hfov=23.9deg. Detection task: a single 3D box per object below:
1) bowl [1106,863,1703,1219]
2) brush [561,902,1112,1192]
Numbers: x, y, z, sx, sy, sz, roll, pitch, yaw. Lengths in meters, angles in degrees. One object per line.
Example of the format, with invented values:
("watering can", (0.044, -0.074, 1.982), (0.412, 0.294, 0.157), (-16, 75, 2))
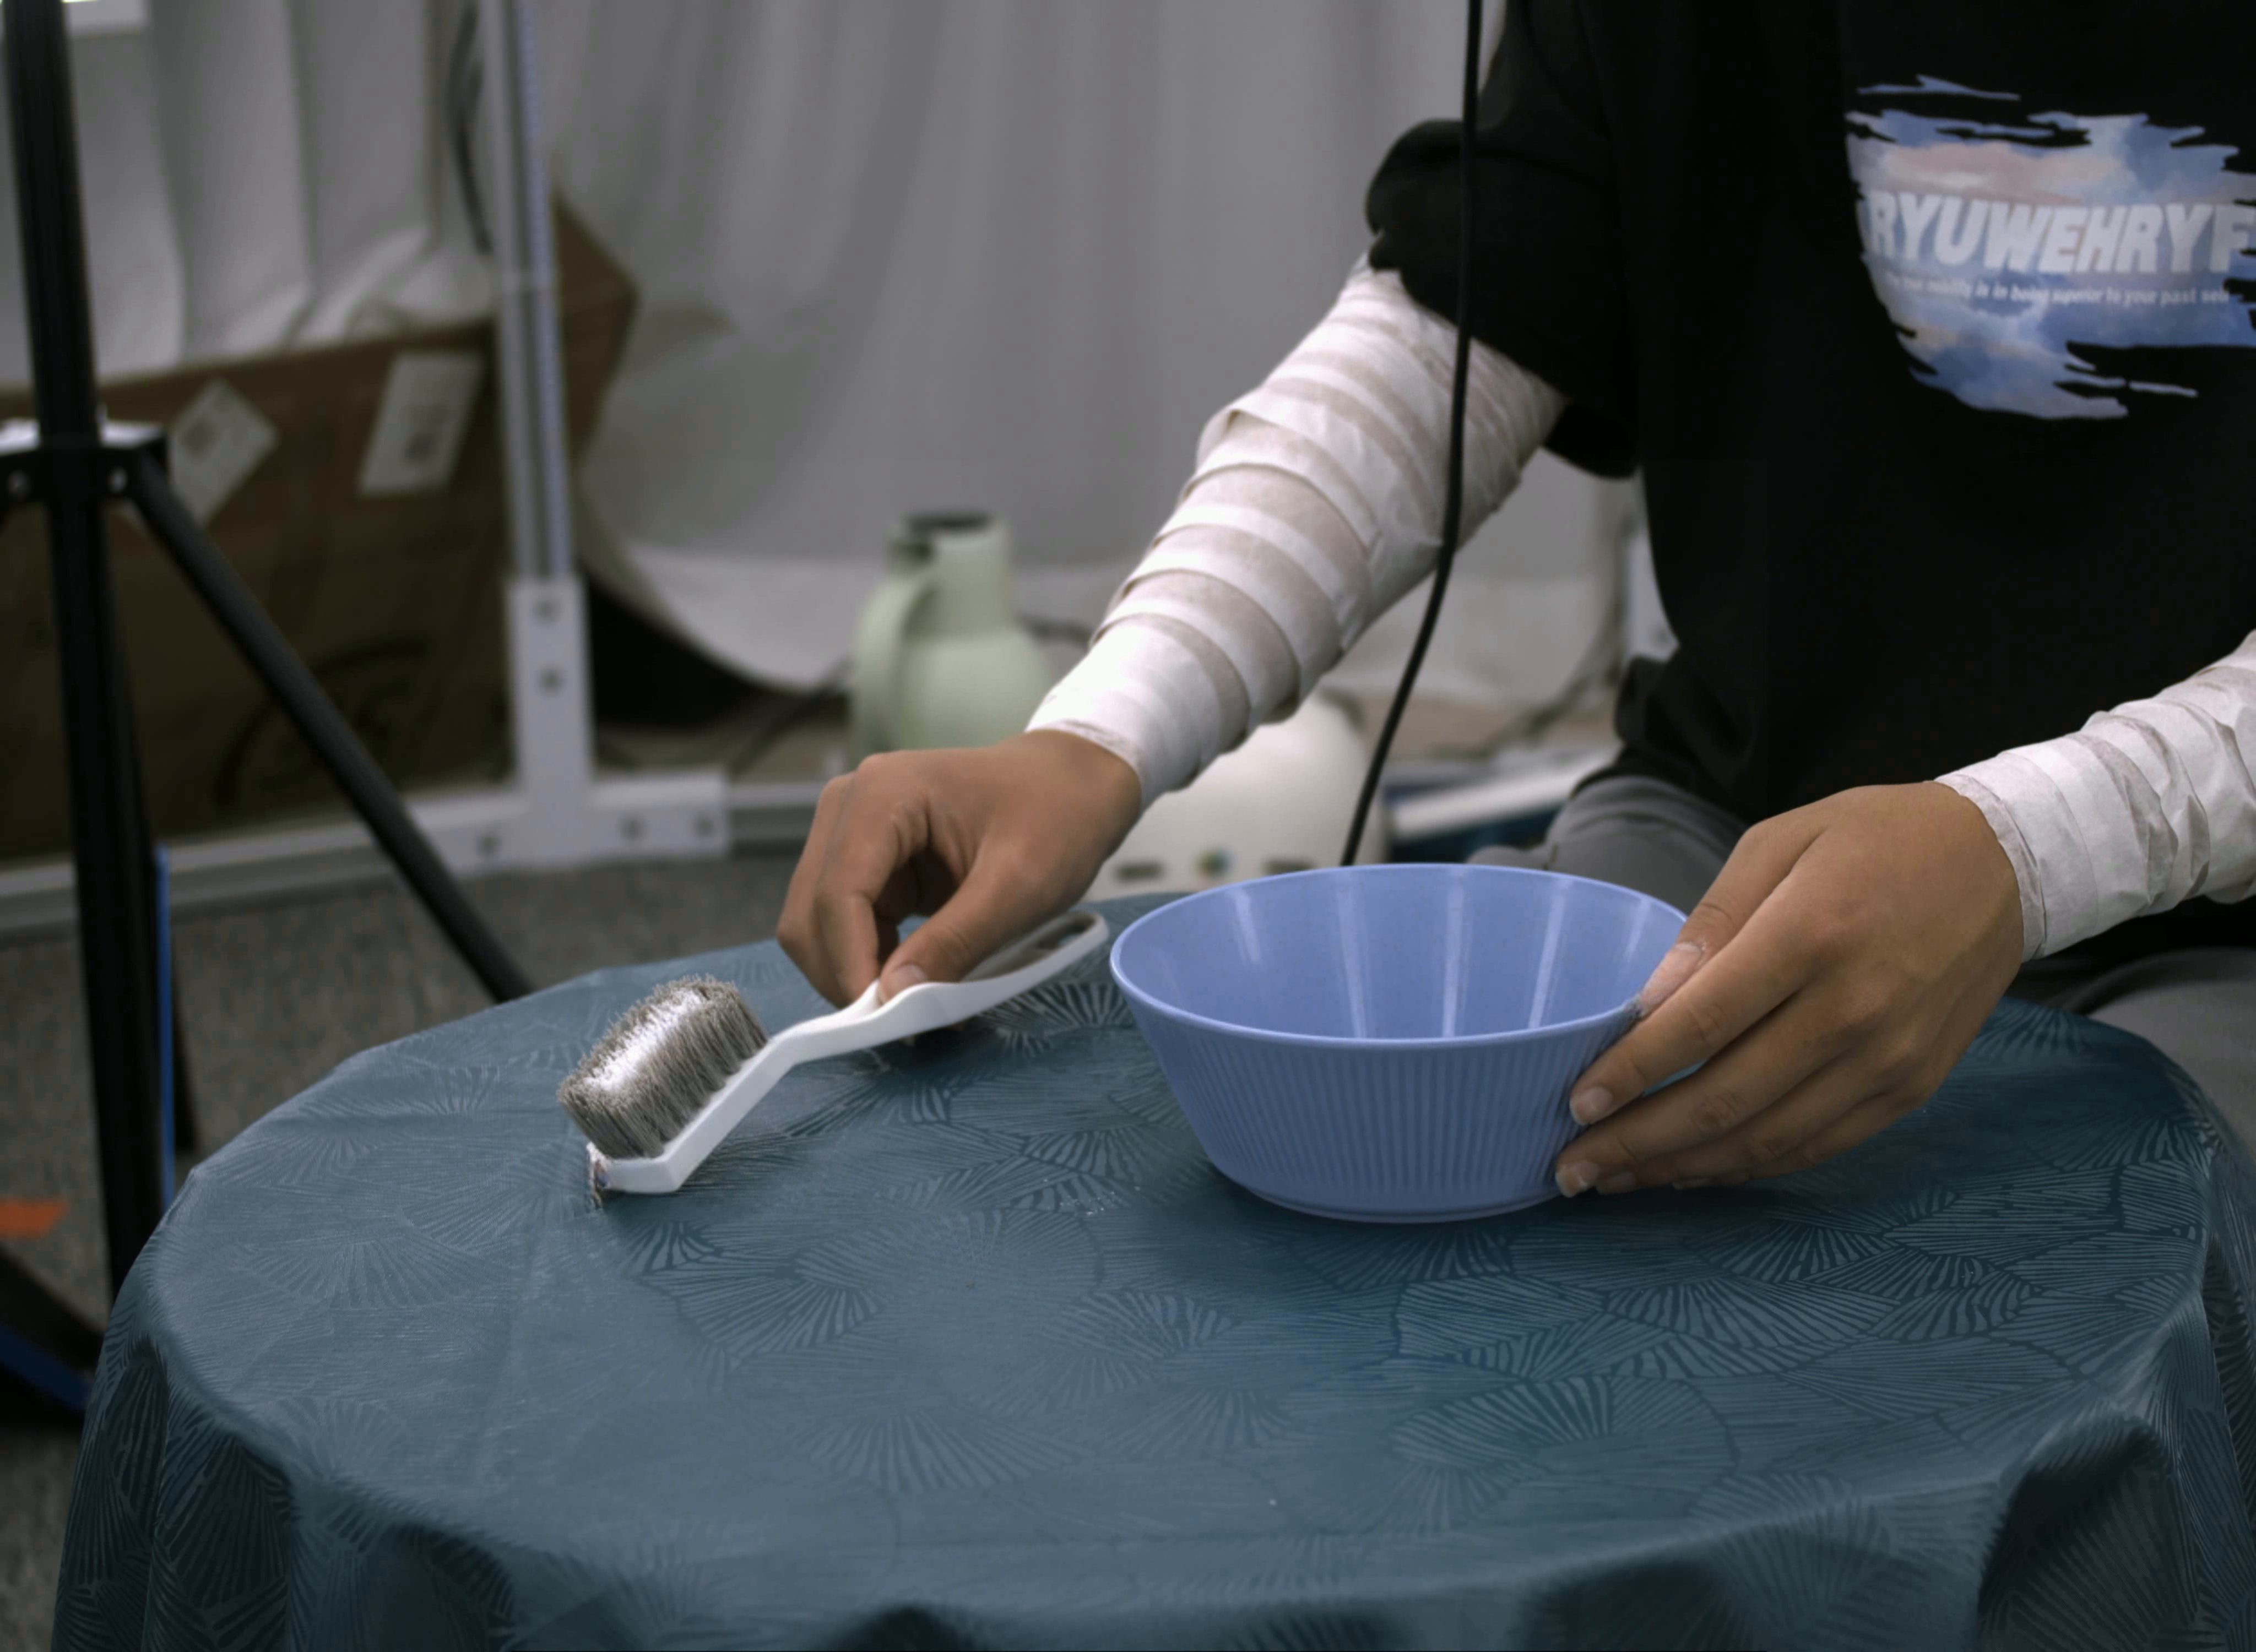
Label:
("bowl", (0.081, 0.066, 1.566), (0.175, 0.070, 0.177), (-2, 16, -1))
("brush", (-0.085, 0.049, 1.653), (0.035, 0.050, 0.239), (9, 25, 38))
